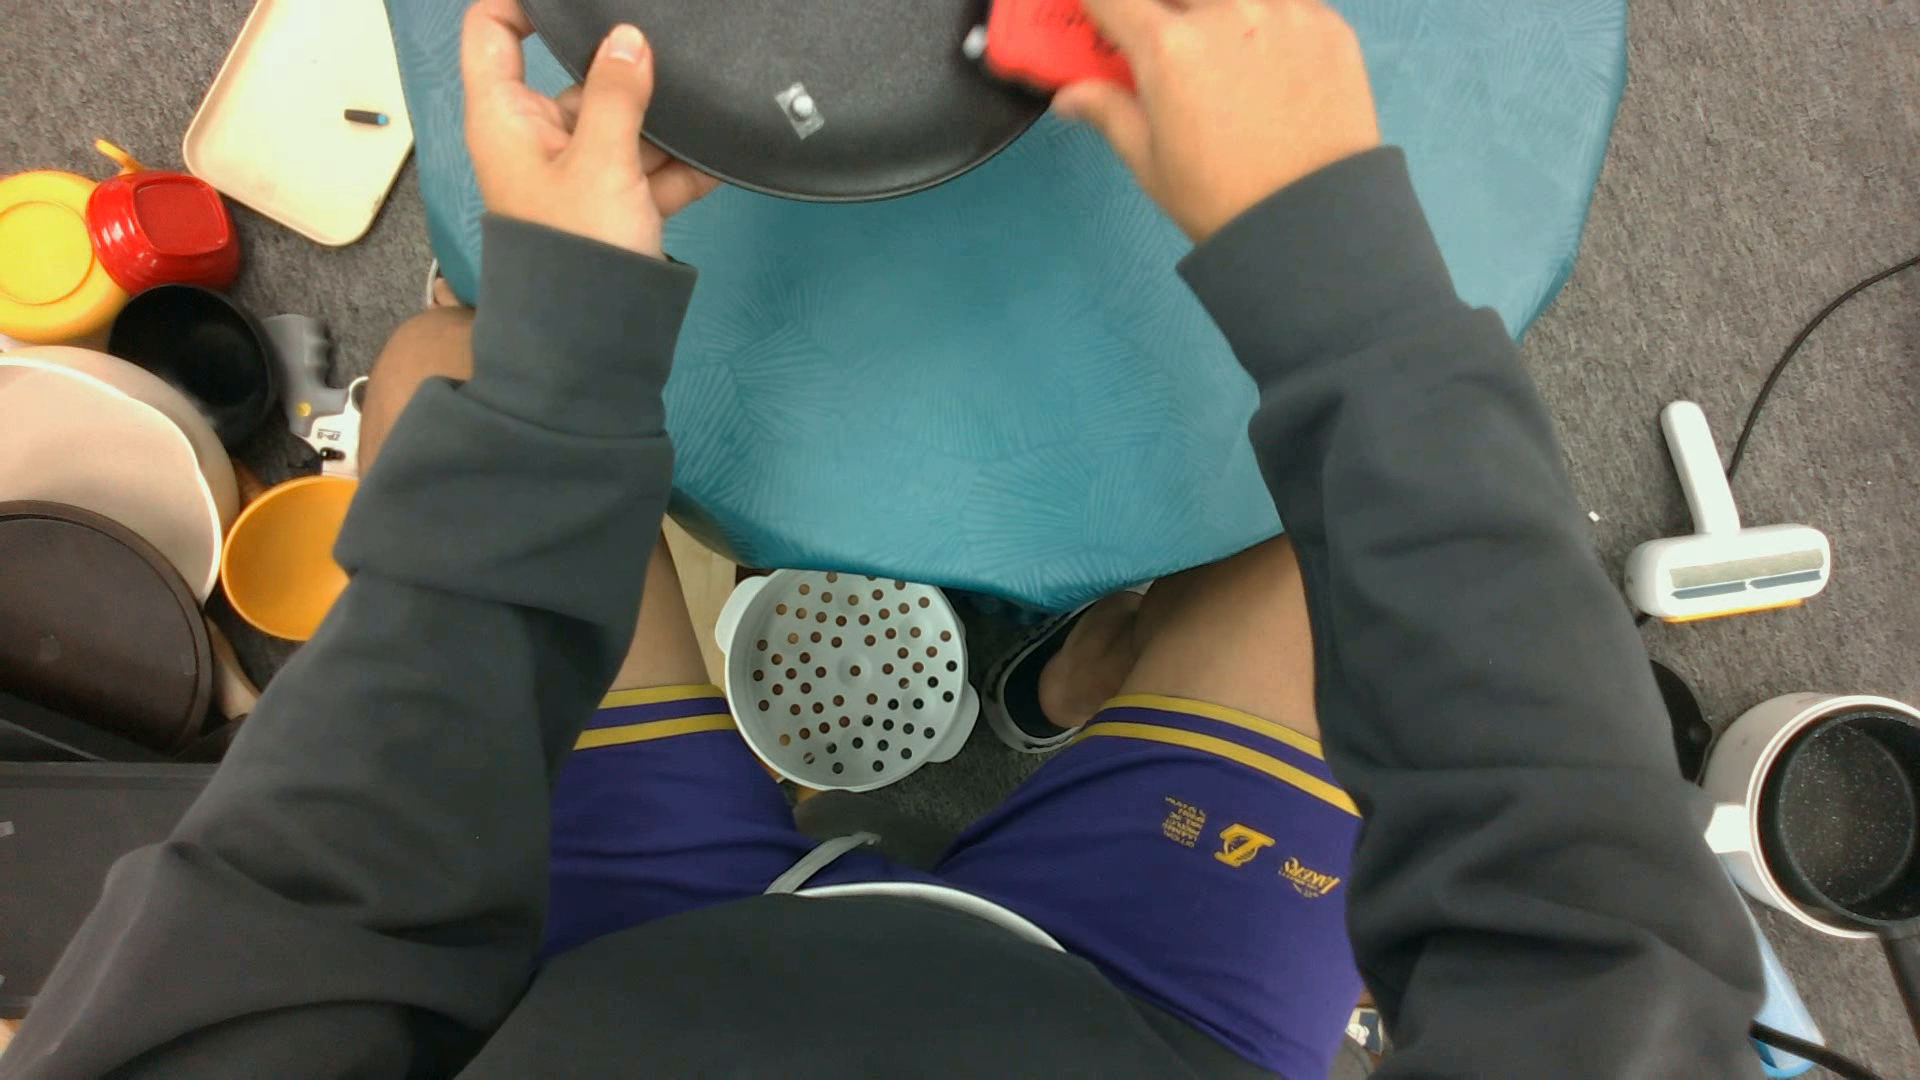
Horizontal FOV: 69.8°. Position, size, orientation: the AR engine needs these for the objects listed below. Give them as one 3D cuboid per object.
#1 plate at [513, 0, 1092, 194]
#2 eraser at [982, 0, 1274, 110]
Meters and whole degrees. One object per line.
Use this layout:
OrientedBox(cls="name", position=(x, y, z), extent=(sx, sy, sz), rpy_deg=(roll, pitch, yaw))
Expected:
OrientedBox(cls="plate", position=(-0.058, -0.252, 0.513), extent=(0.245, 0.023, 0.244), rpy_deg=(-3, 98, -19))
OrientedBox(cls="eraser", position=(0.066, -0.209, 0.534), extent=(0.108, 0.023, 0.059), rpy_deg=(13, 91, -10))
